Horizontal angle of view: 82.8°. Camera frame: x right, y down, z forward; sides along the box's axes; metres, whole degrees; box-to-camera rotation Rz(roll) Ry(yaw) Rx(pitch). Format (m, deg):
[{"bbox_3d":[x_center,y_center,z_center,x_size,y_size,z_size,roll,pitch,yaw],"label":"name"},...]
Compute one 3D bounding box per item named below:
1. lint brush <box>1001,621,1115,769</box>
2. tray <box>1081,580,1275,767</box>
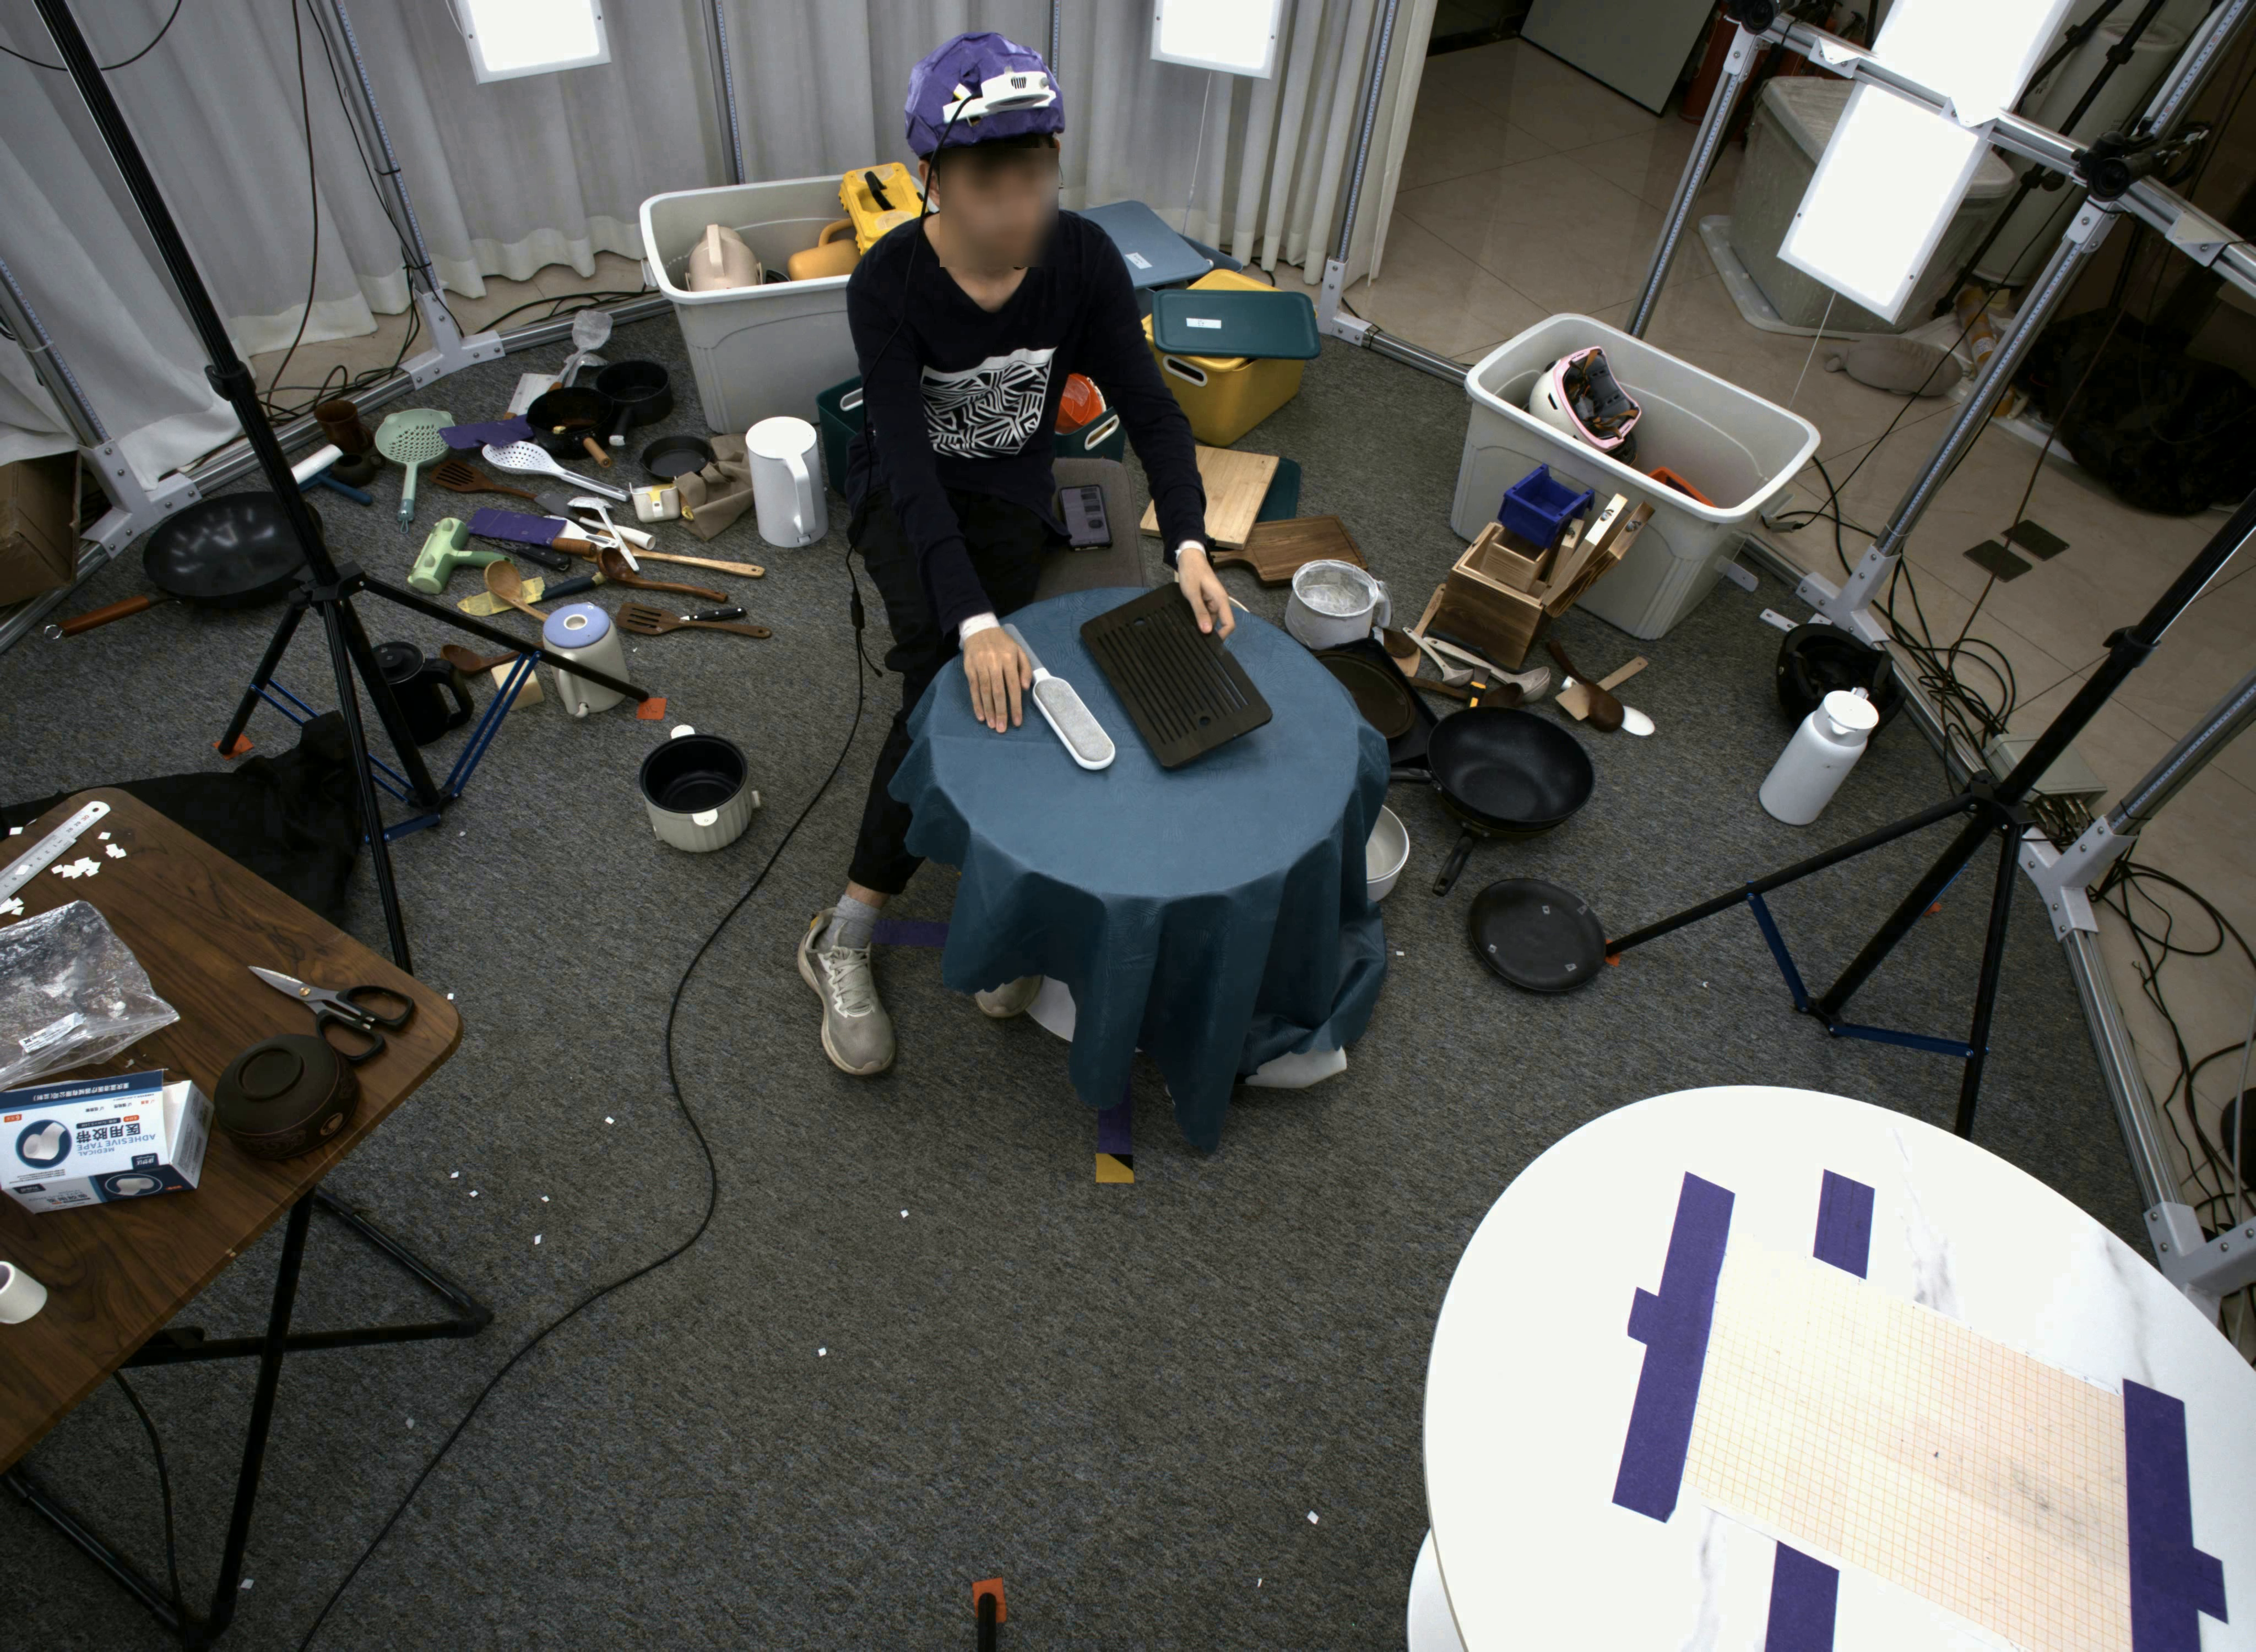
[{"bbox_3d":[-0.105,-0.190,1.807,0.060,0.020,0.315,-23,54,-16],"label":"lint brush"},{"bbox_3d":[0.066,-0.221,1.825,0.170,0.018,0.313,-27,54,-6],"label":"tray"}]
